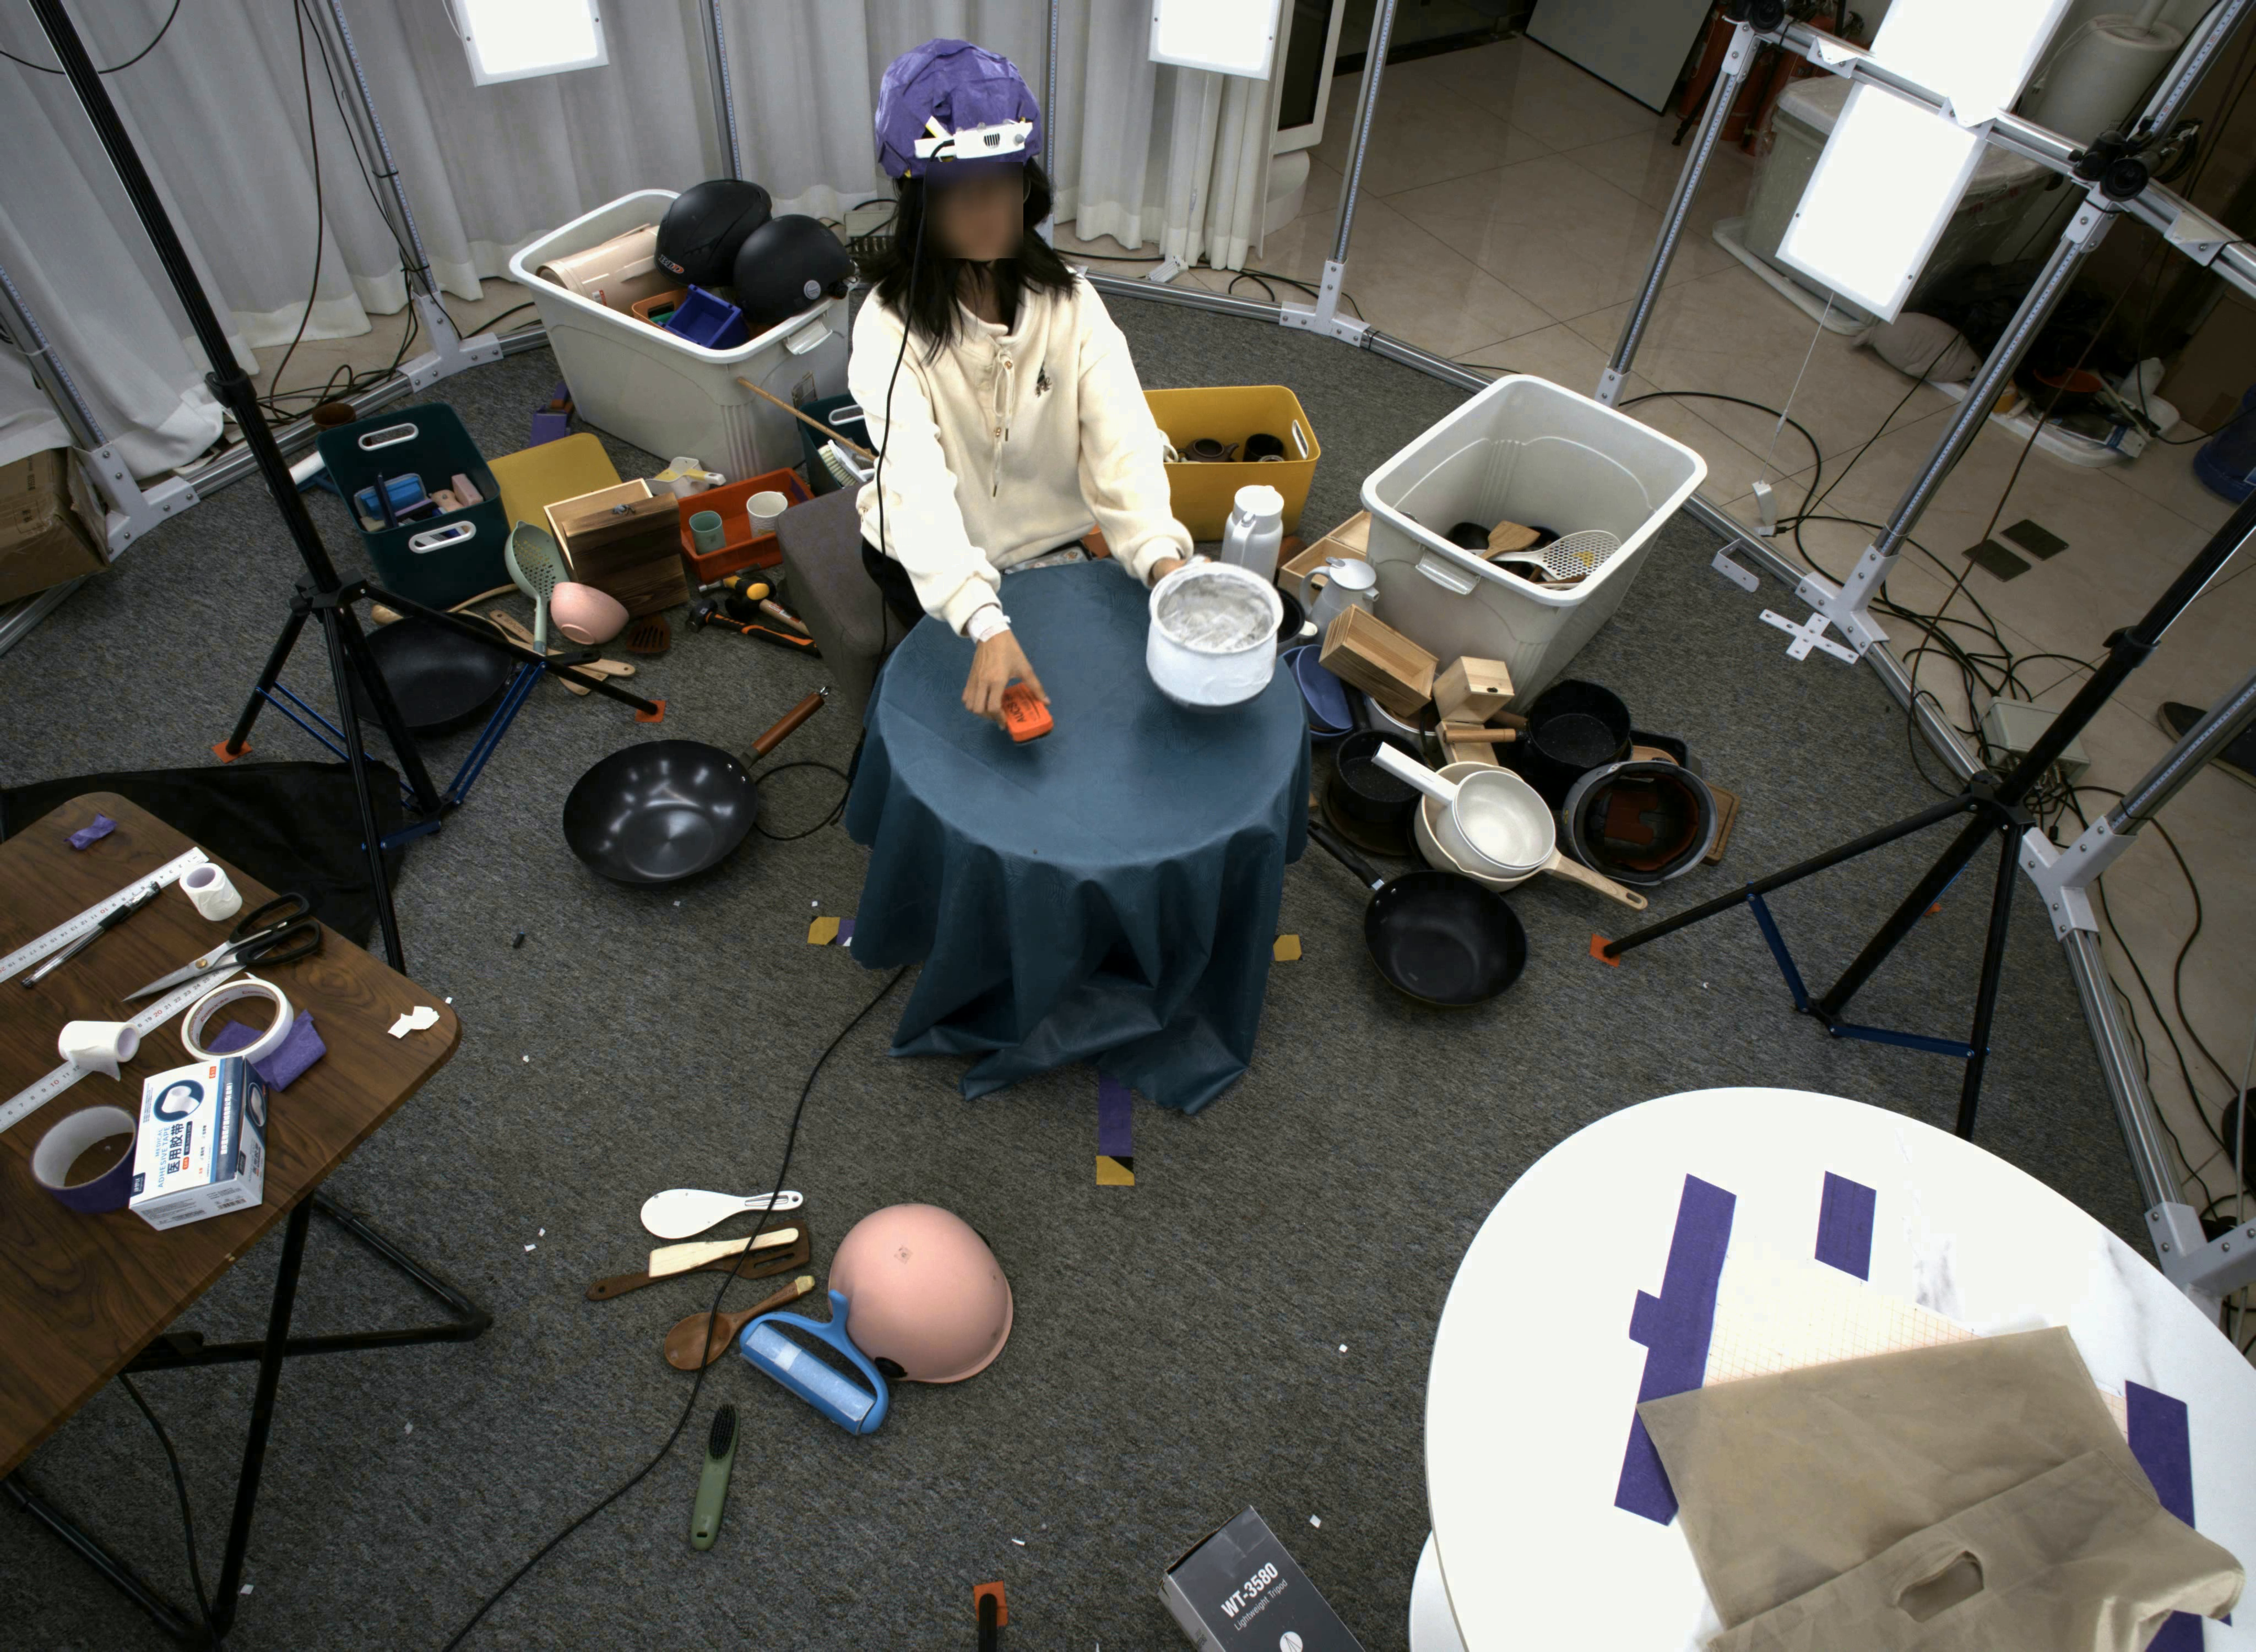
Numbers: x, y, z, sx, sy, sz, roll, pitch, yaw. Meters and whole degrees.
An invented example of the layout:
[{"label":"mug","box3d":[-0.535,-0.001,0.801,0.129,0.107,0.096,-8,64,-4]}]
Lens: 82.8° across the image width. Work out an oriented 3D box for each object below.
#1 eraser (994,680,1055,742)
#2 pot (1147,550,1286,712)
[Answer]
[{"label":"eraser","box3d":[-0.140,-0.156,1.731,0.059,0.022,0.110,-20,39,-9]},{"label":"pot","box3d":[0.109,-0.275,1.752,0.178,0.133,0.239,-9,52,-10]}]
